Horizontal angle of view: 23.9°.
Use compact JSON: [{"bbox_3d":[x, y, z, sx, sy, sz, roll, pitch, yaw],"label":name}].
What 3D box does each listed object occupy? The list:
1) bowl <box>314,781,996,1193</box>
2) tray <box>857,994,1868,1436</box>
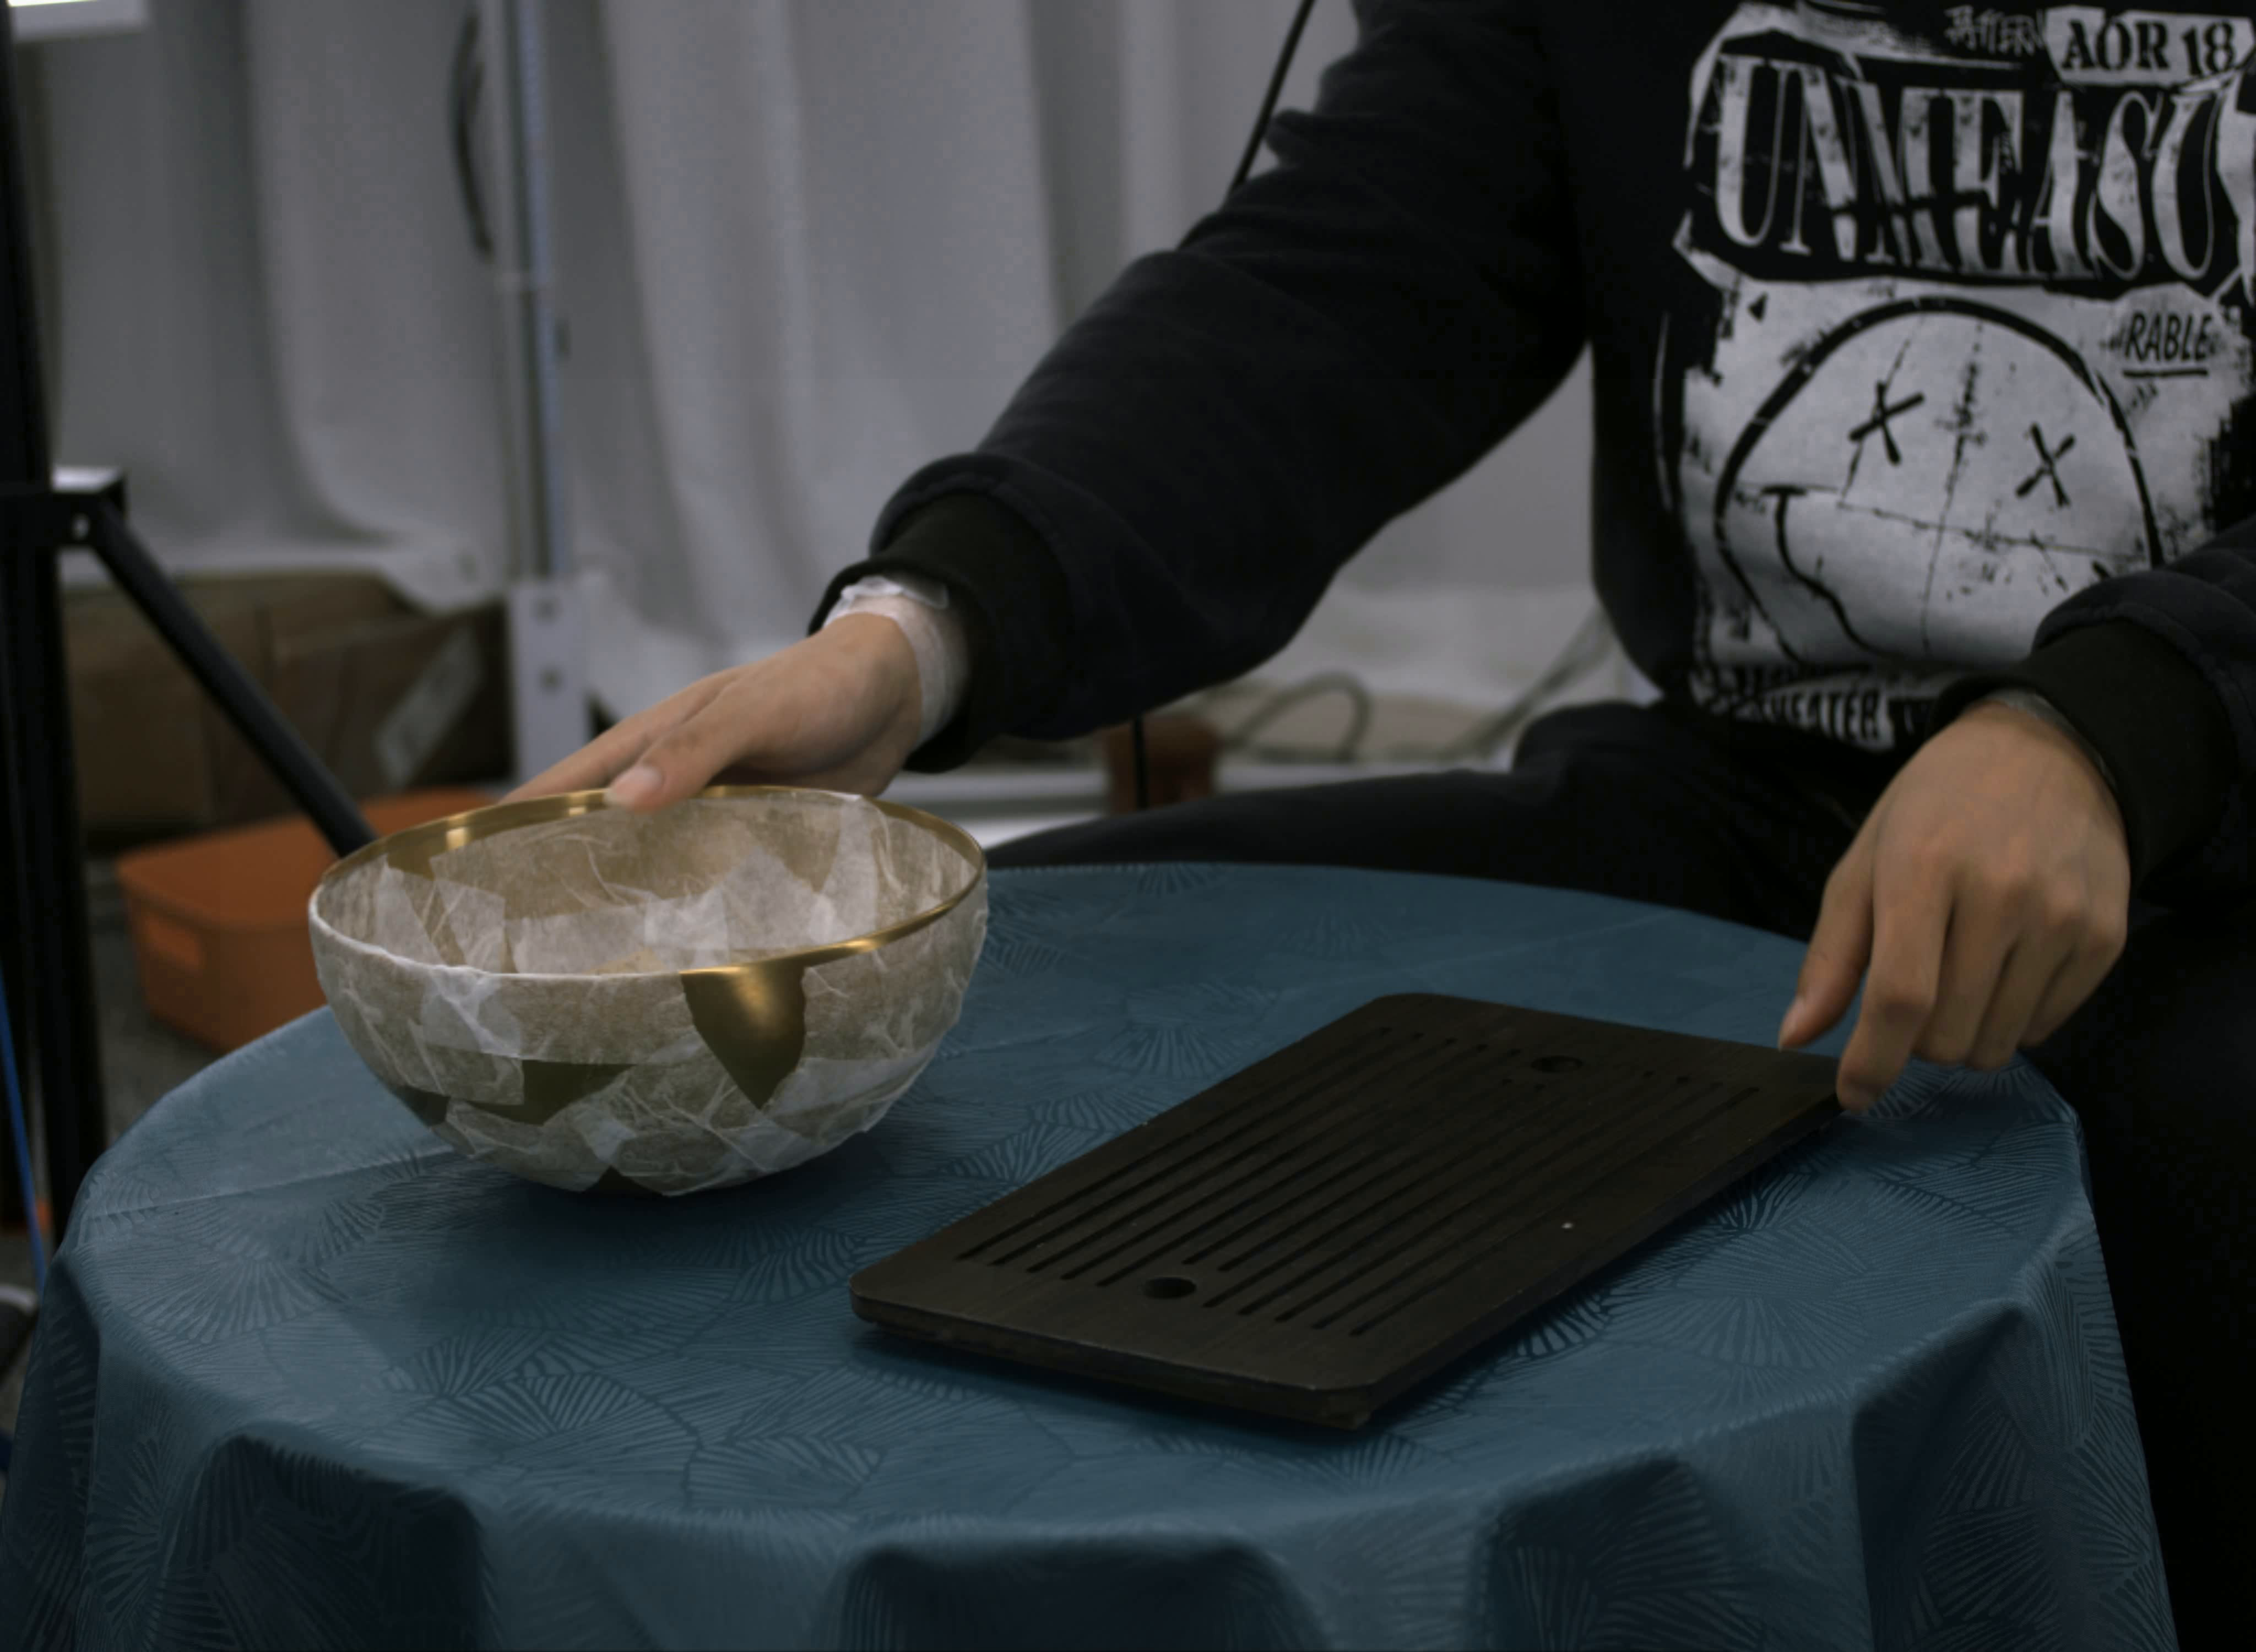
[{"bbox_3d":[-0.135,0.055,1.596,0.213,0.094,0.216,-3,15,-1],"label":"bowl"},{"bbox_3d":[0.074,0.108,1.516,0.173,0.018,0.300,8,19,34],"label":"tray"}]
